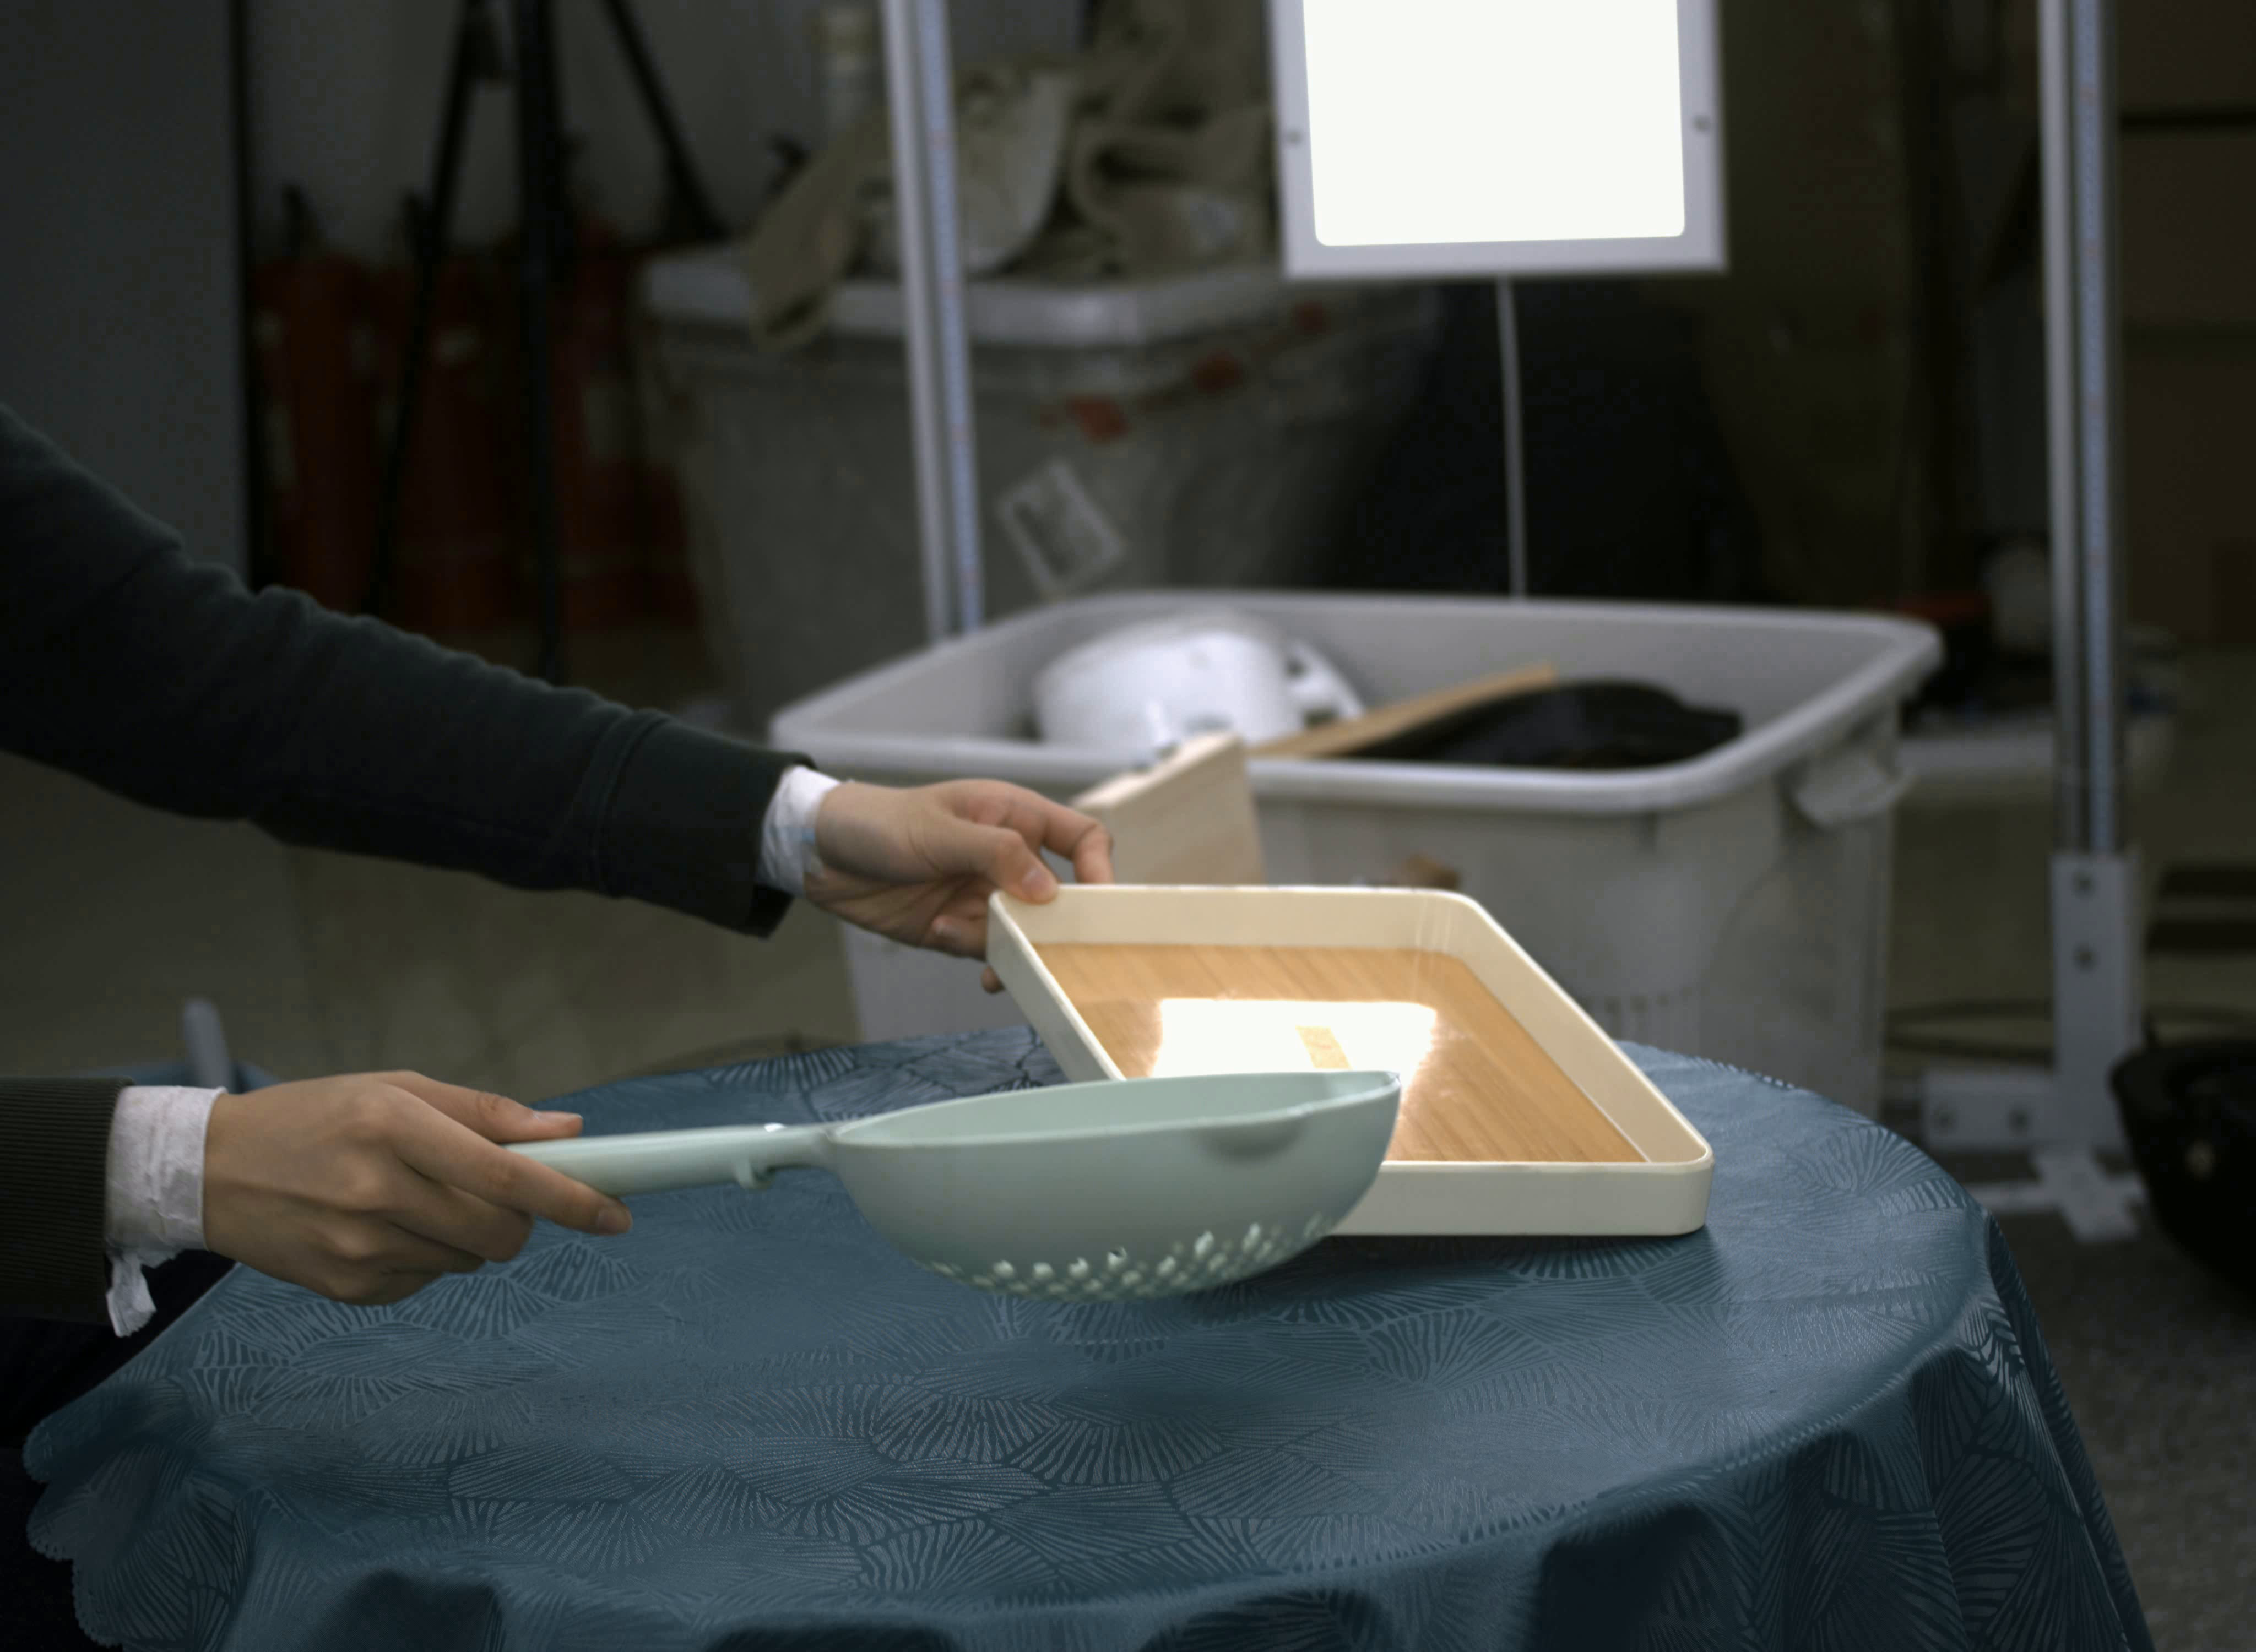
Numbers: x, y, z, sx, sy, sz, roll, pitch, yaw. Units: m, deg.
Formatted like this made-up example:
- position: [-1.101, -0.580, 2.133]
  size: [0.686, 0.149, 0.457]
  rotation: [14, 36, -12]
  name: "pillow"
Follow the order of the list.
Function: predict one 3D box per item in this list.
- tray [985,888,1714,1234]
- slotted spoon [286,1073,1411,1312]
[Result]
- position: [0.070, 0.079, 1.915]
  size: [0.189, 0.027, 0.302]
  rotation: [1, 15, -13]
  name: "tray"
- position: [-0.092, 0.103, 1.661]
  size: [0.363, 0.075, 0.166]
  rotation: [4, 4, 20]
  name: "slotted spoon"
